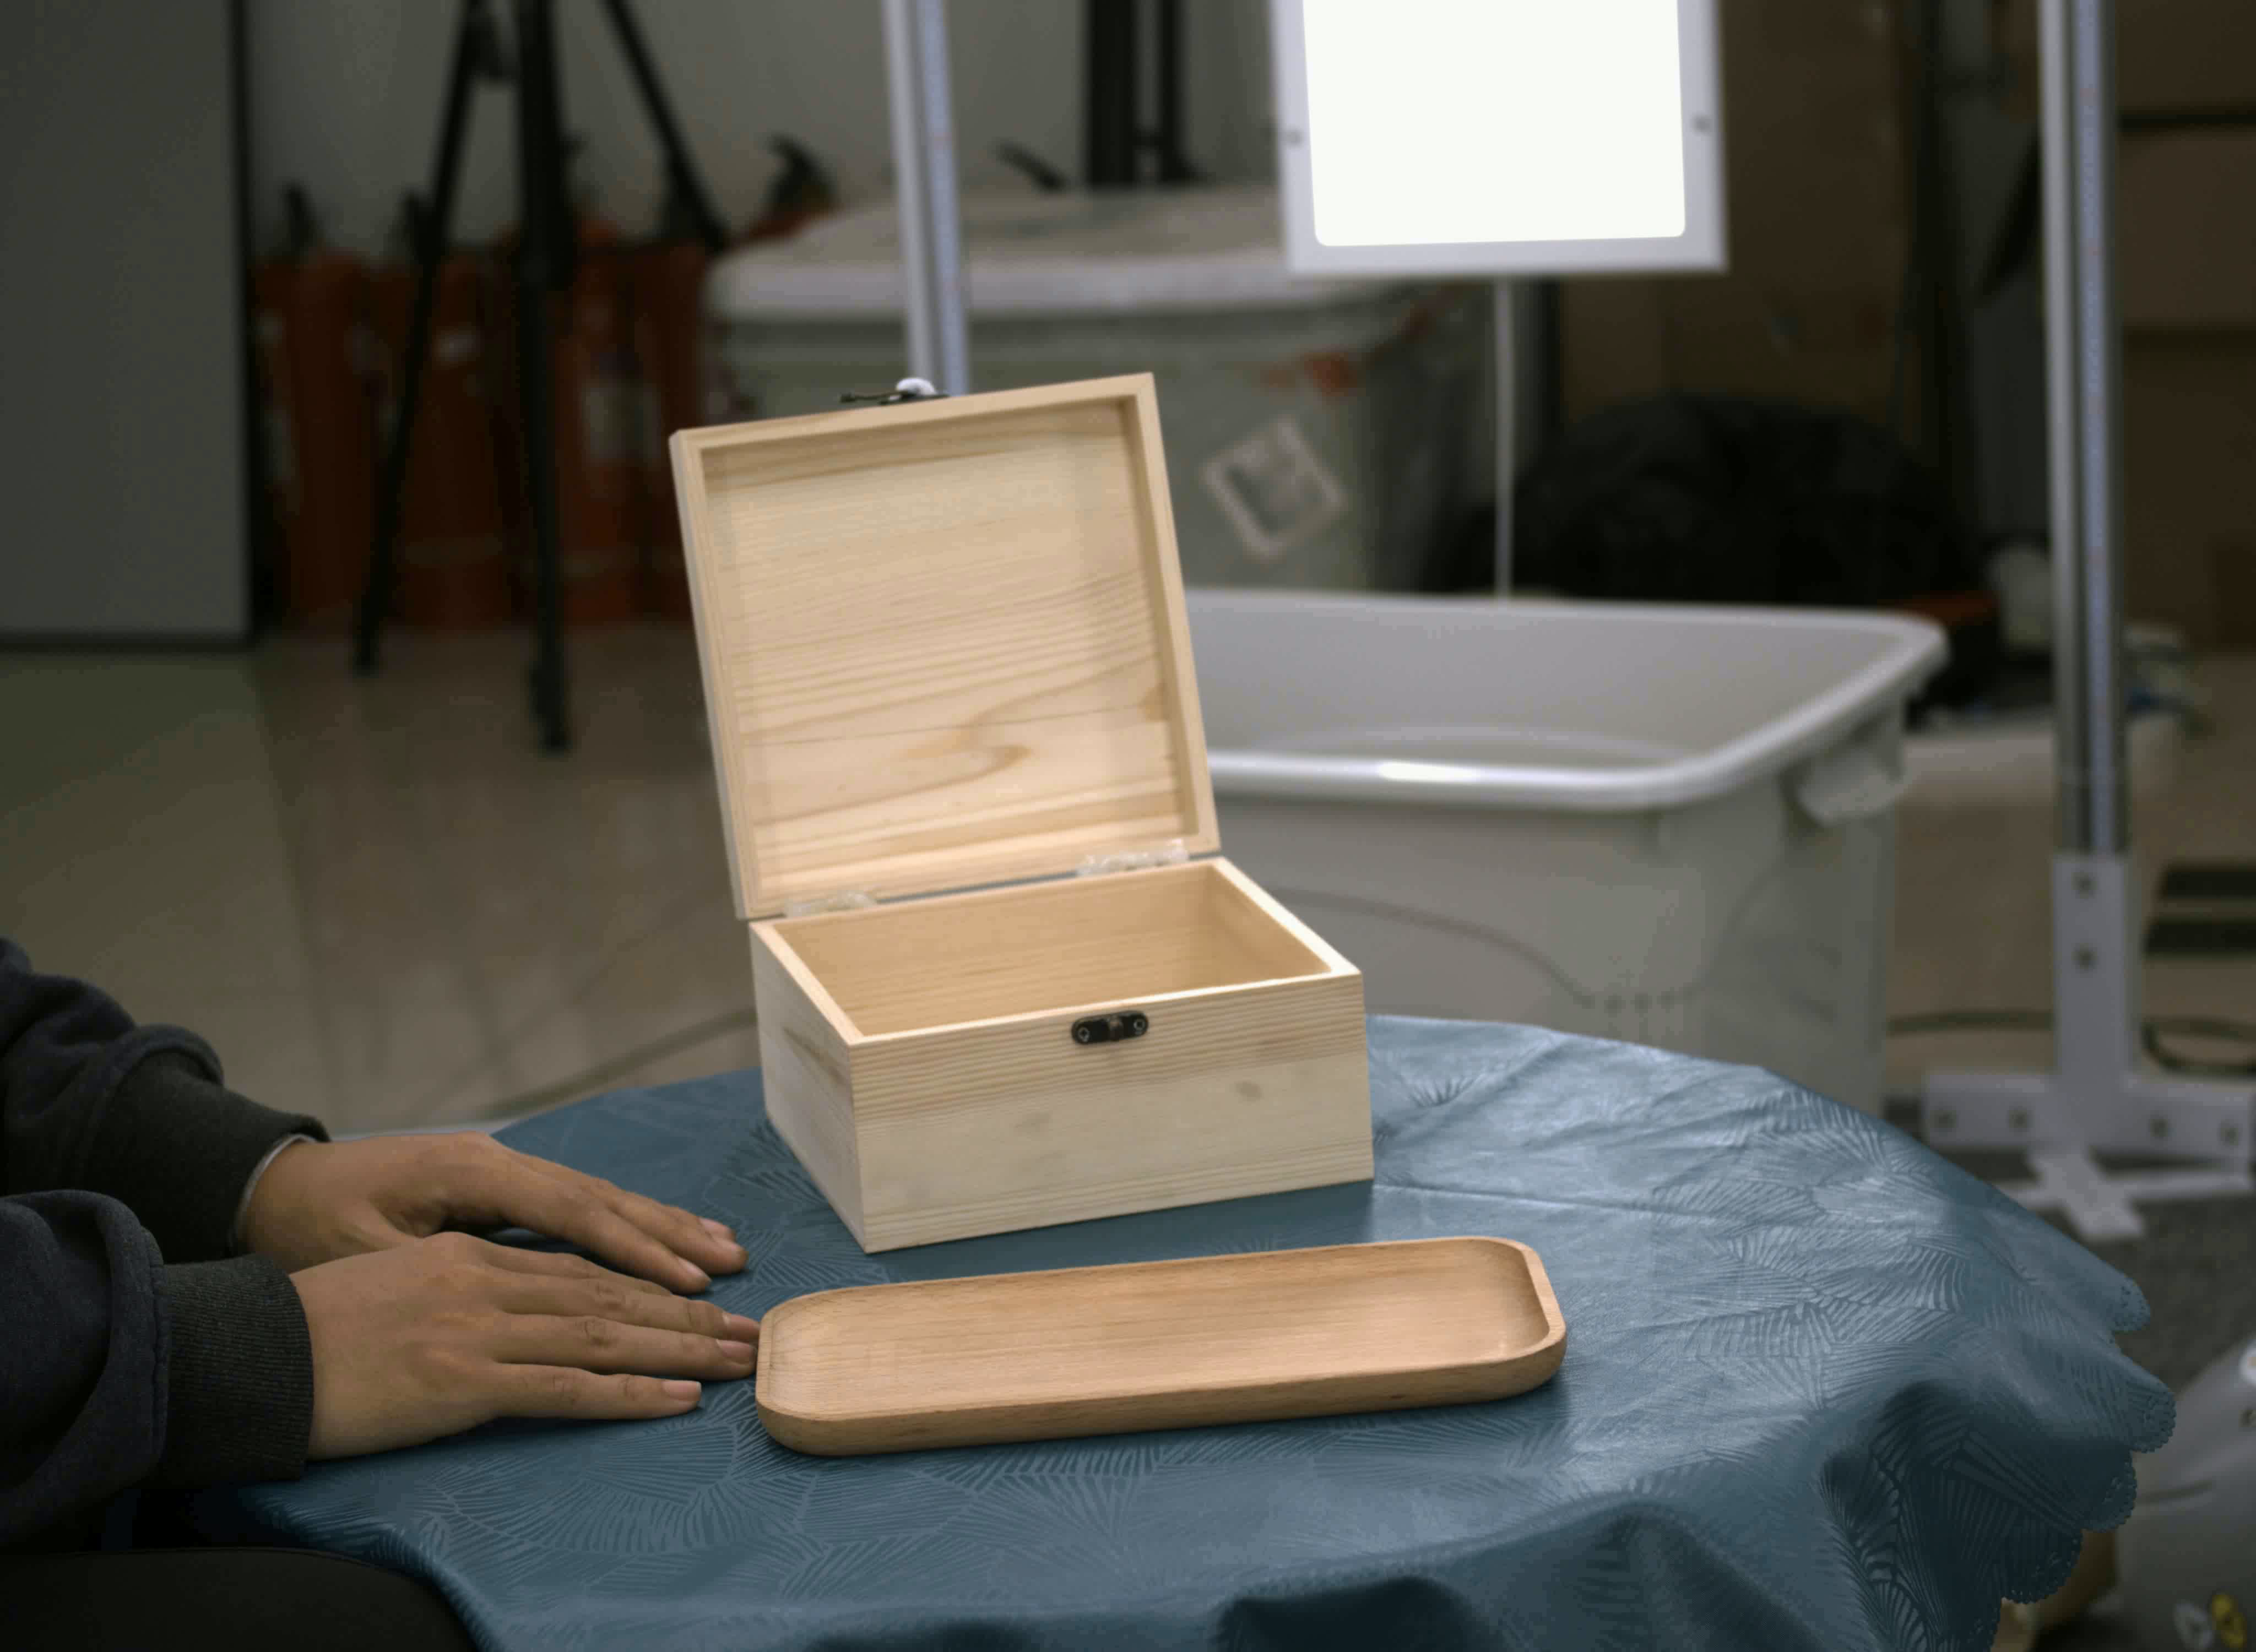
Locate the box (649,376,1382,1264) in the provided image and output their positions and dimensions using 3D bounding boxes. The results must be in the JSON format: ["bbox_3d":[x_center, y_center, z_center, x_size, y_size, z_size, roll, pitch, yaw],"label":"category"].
[{"bbox_3d":[-0.044,-0.011,1.960,0.179,0.254,0.267,-10,13,-12],"label":"box"}]

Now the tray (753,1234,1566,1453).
[{"bbox_3d":[0.009,0.161,1.716,0.250,0.023,0.130,-5,11,1],"label":"tray"}]
